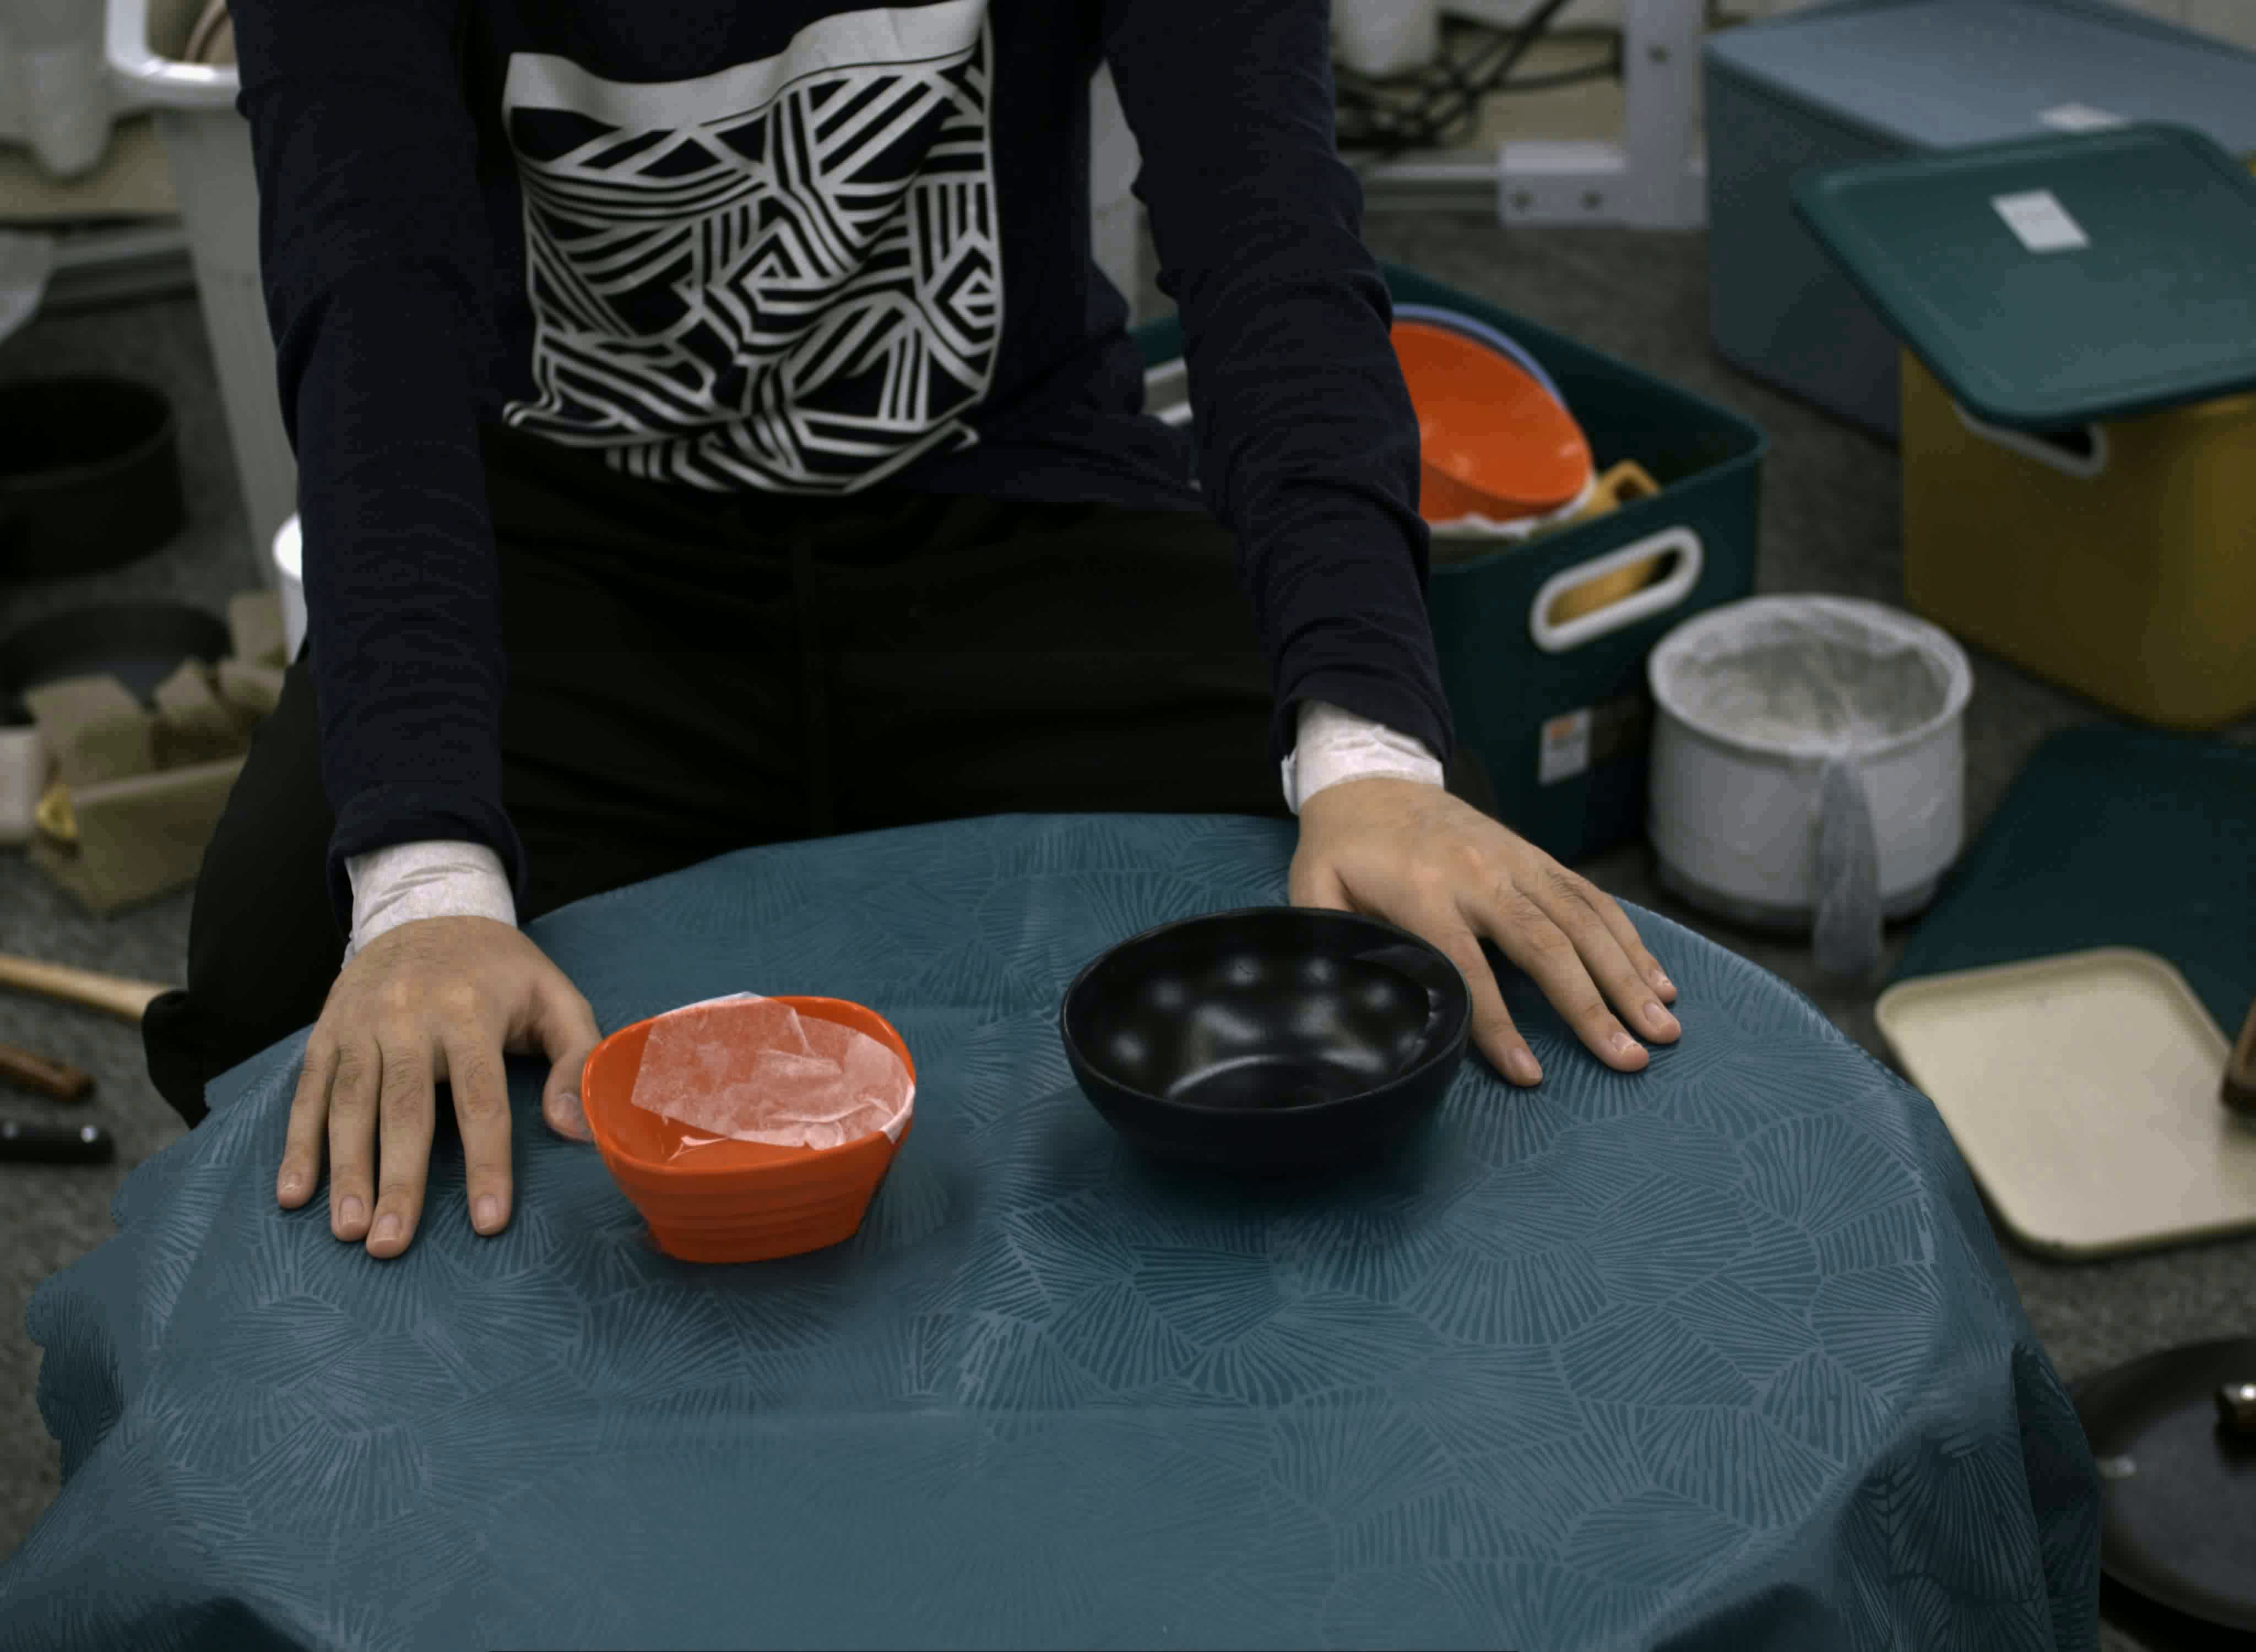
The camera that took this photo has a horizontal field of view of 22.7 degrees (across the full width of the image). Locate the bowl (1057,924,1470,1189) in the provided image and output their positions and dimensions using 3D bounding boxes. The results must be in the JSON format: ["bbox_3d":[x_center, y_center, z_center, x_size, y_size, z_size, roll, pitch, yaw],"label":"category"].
[{"bbox_3d":[0.046,0.084,1.884,0.139,0.049,0.142,-3,23,2],"label":"bowl"}]

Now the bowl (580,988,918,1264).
[{"bbox_3d":[-0.123,0.104,1.851,0.118,0.051,0.121,-3,29,2],"label":"bowl"}]
